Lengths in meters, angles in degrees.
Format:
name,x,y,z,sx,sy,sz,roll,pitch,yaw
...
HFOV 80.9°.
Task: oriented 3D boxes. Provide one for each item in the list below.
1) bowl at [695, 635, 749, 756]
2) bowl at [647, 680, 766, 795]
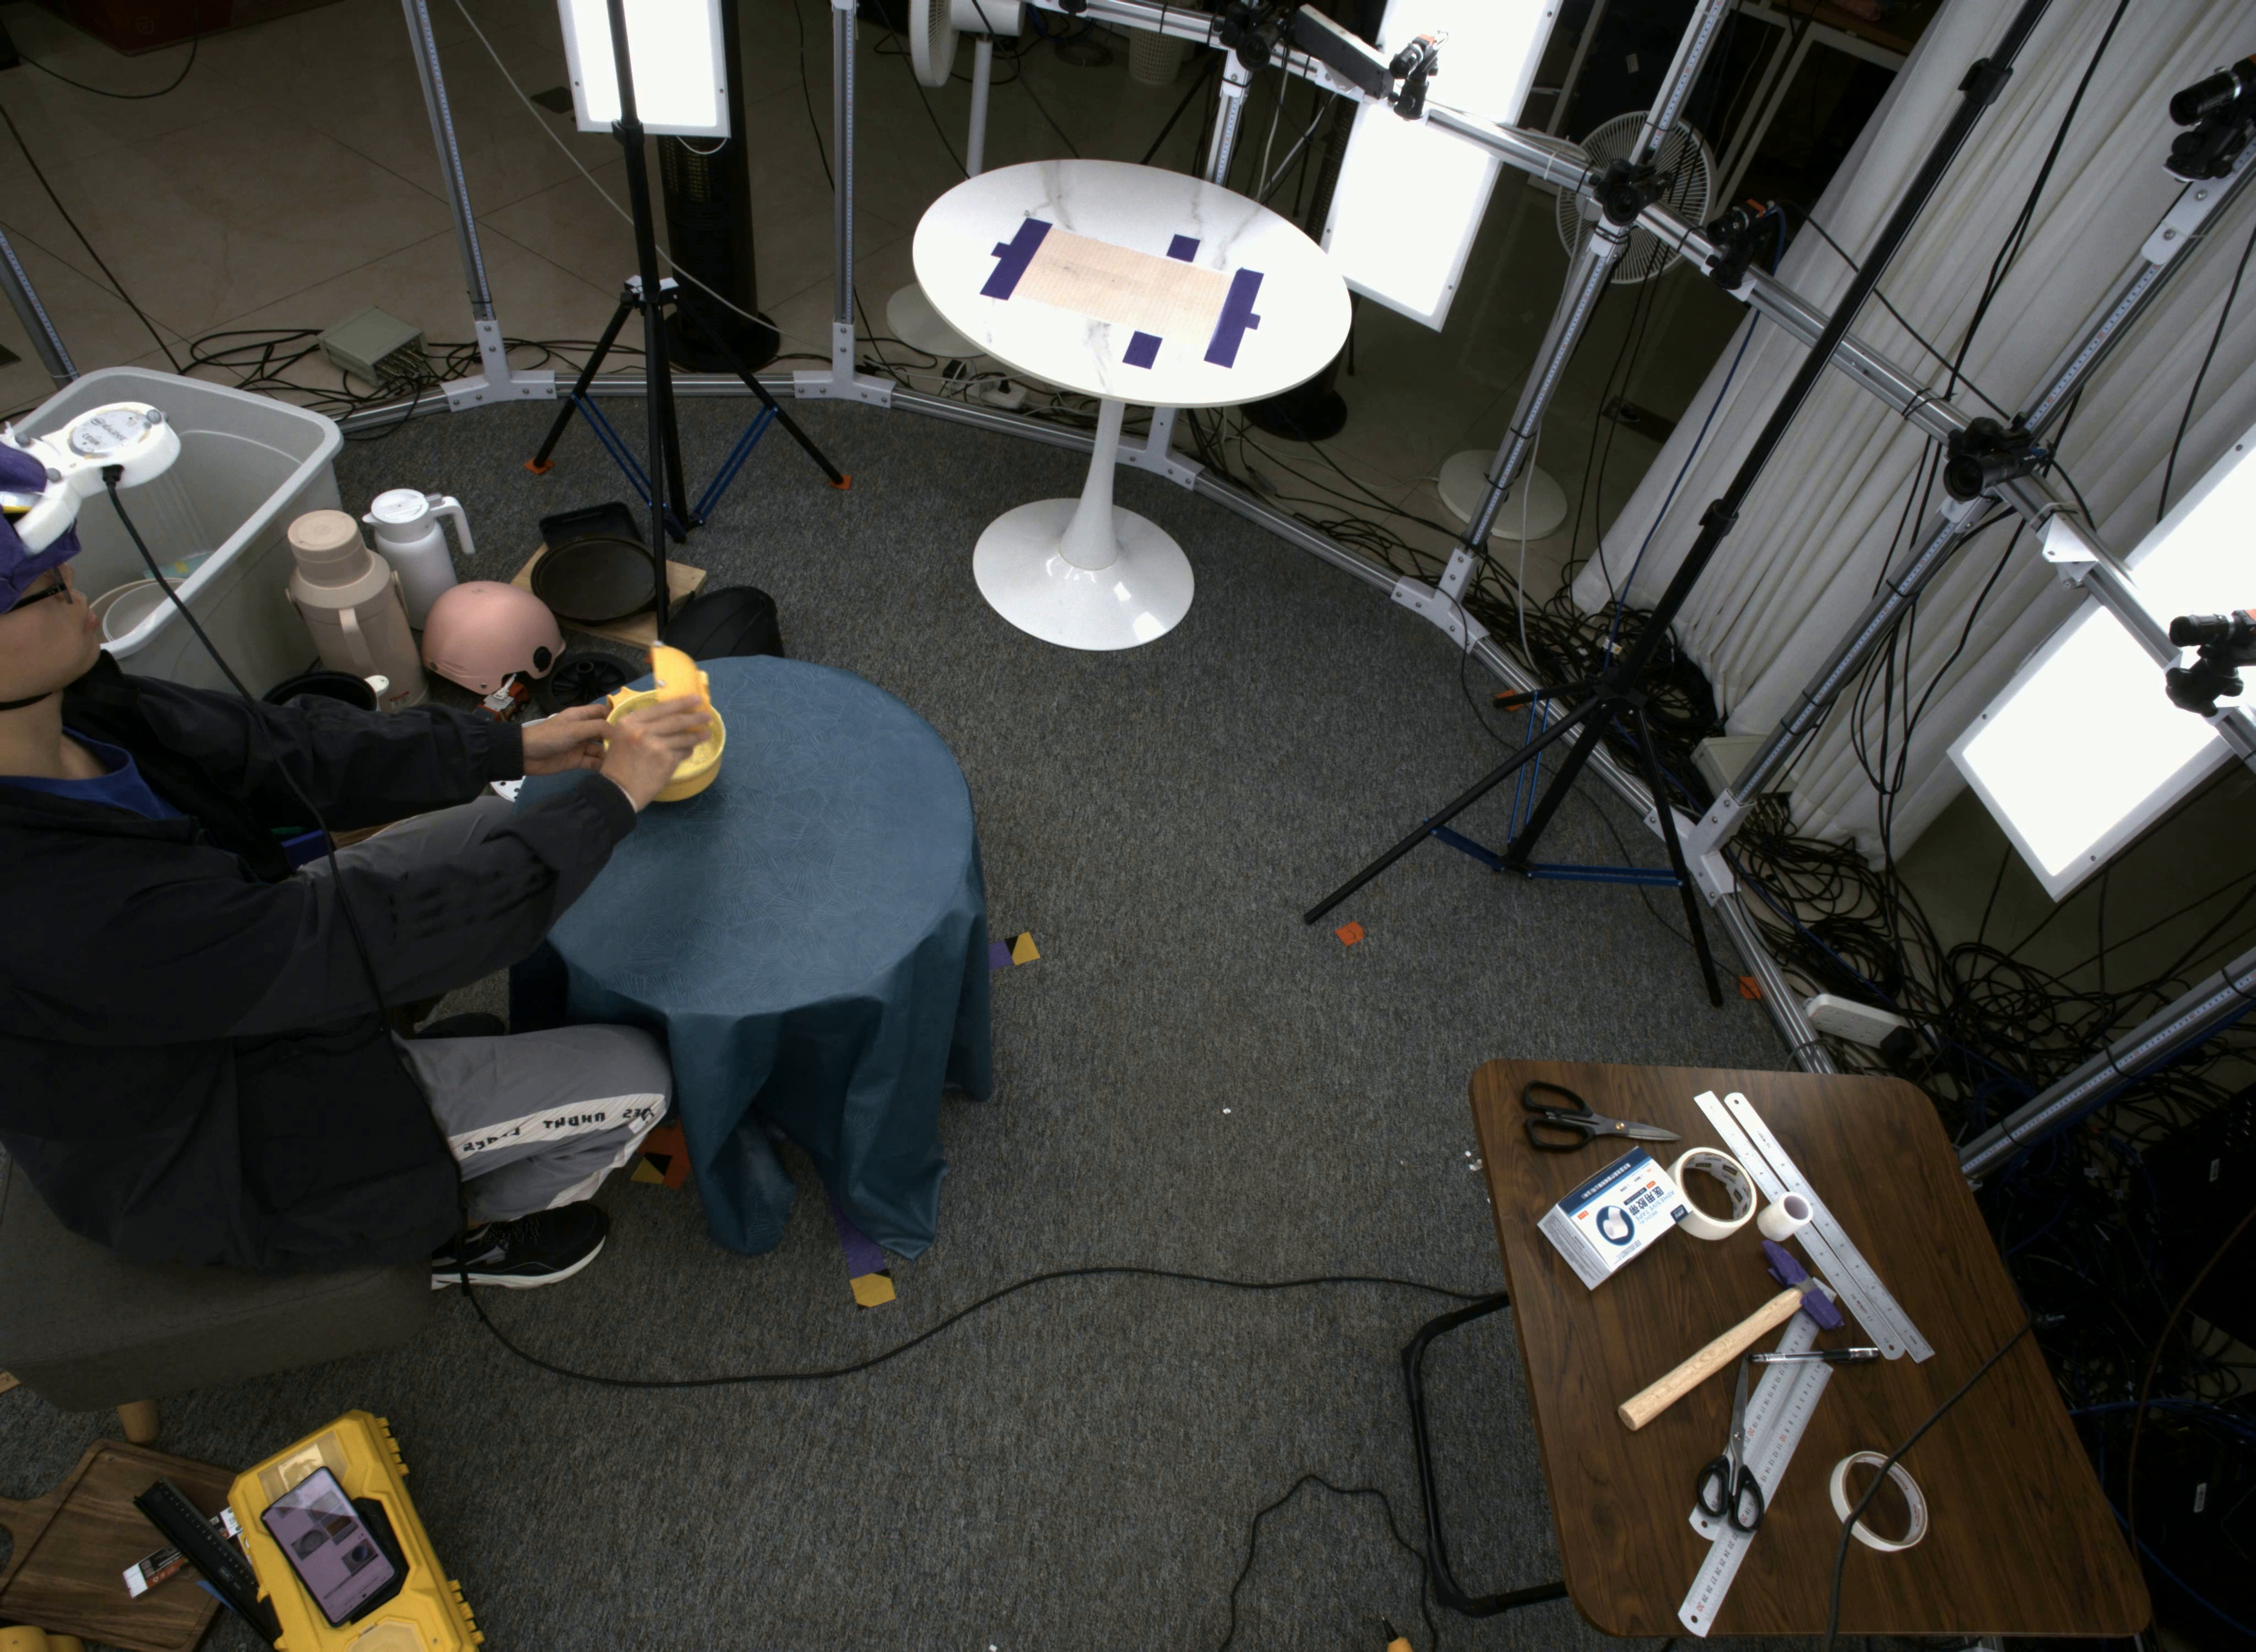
name,x,y,z,sx,sy,sz,roll,pitch,yaw
bowl,-0.494,-0.160,1.574,0.060,0.148,0.142,-2,53,-15
bowl,-0.566,-0.120,1.704,0.177,0.075,0.153,39,54,10
